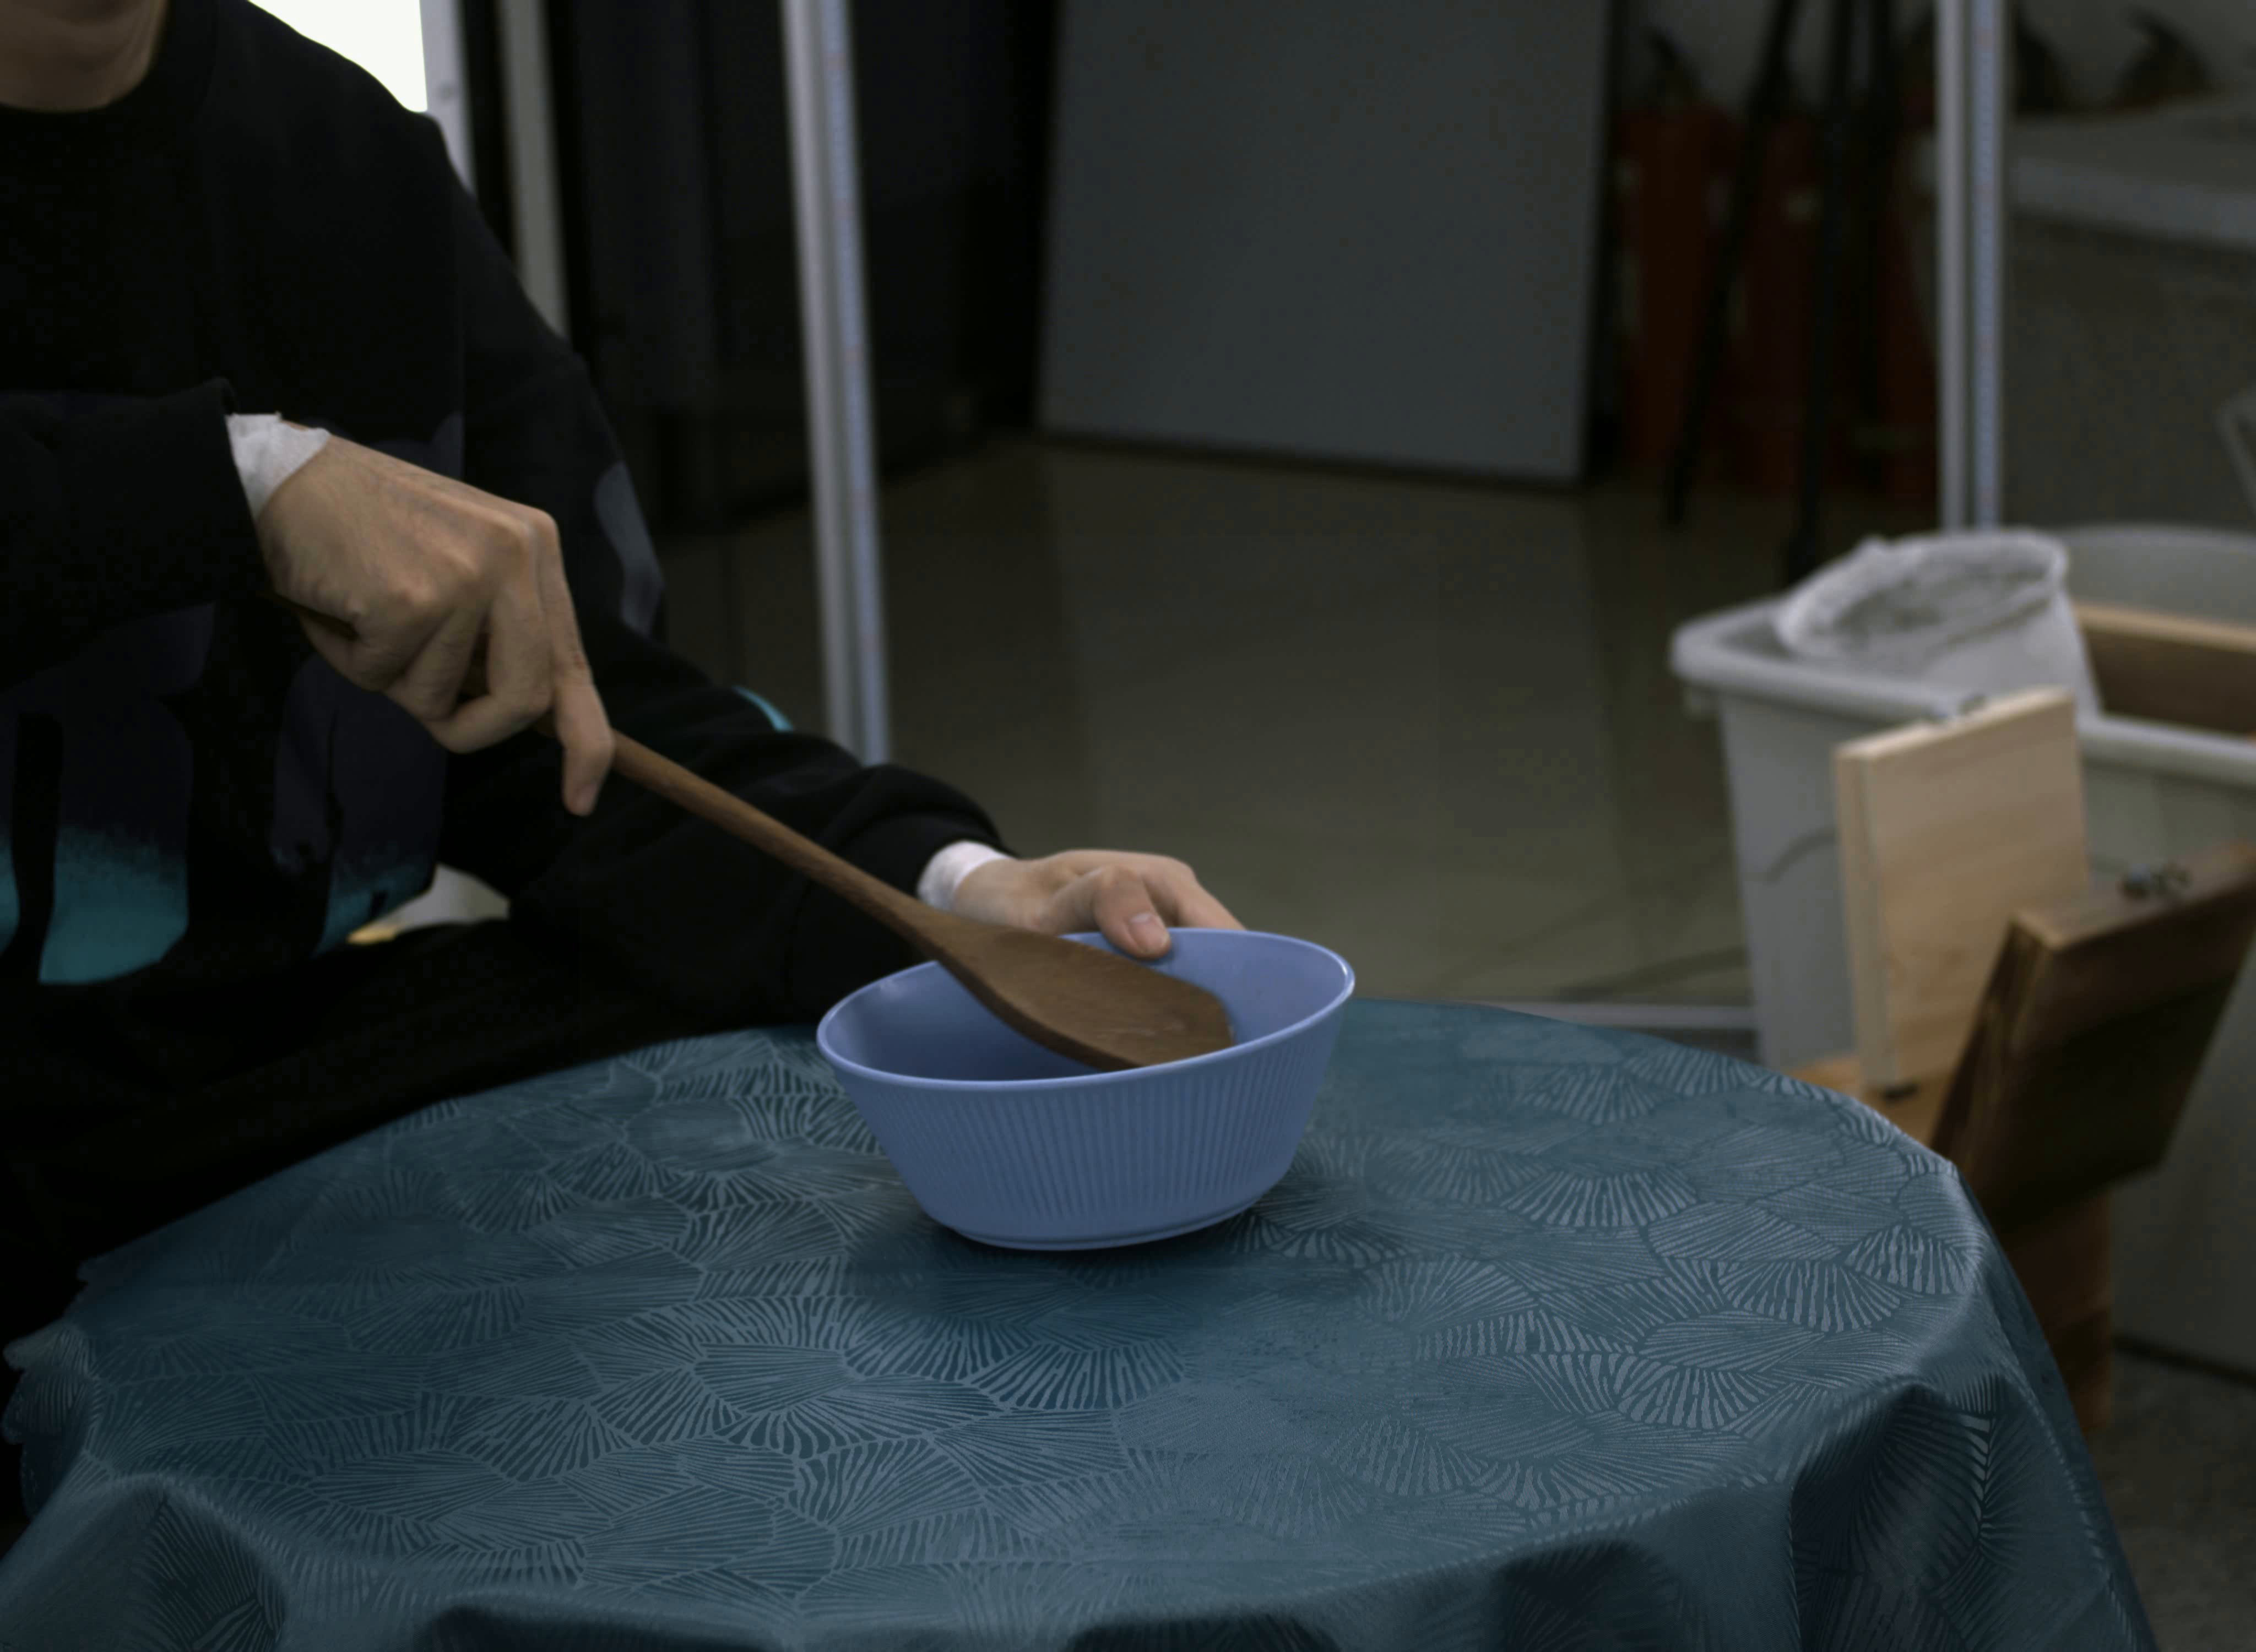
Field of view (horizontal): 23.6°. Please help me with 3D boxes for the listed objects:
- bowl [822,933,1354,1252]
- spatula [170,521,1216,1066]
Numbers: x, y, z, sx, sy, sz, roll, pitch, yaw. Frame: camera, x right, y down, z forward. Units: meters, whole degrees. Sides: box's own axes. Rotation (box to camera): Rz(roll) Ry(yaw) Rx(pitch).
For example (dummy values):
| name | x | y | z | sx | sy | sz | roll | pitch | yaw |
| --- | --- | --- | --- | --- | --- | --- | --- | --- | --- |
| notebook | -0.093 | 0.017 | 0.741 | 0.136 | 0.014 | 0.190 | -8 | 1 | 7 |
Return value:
| name | x | y | z | sx | sy | sz | roll | pitch | yaw |
| --- | --- | --- | --- | --- | --- | --- | --- | --- | --- |
| bowl | -0.009 | 0.088 | 1.741 | 0.174 | 0.071 | 0.176 | -7 | 11 | 1 |
| spatula | -0.139 | -0.009 | 1.759 | 0.383 | 0.016 | 0.096 | 28 | 18 | 0 |
